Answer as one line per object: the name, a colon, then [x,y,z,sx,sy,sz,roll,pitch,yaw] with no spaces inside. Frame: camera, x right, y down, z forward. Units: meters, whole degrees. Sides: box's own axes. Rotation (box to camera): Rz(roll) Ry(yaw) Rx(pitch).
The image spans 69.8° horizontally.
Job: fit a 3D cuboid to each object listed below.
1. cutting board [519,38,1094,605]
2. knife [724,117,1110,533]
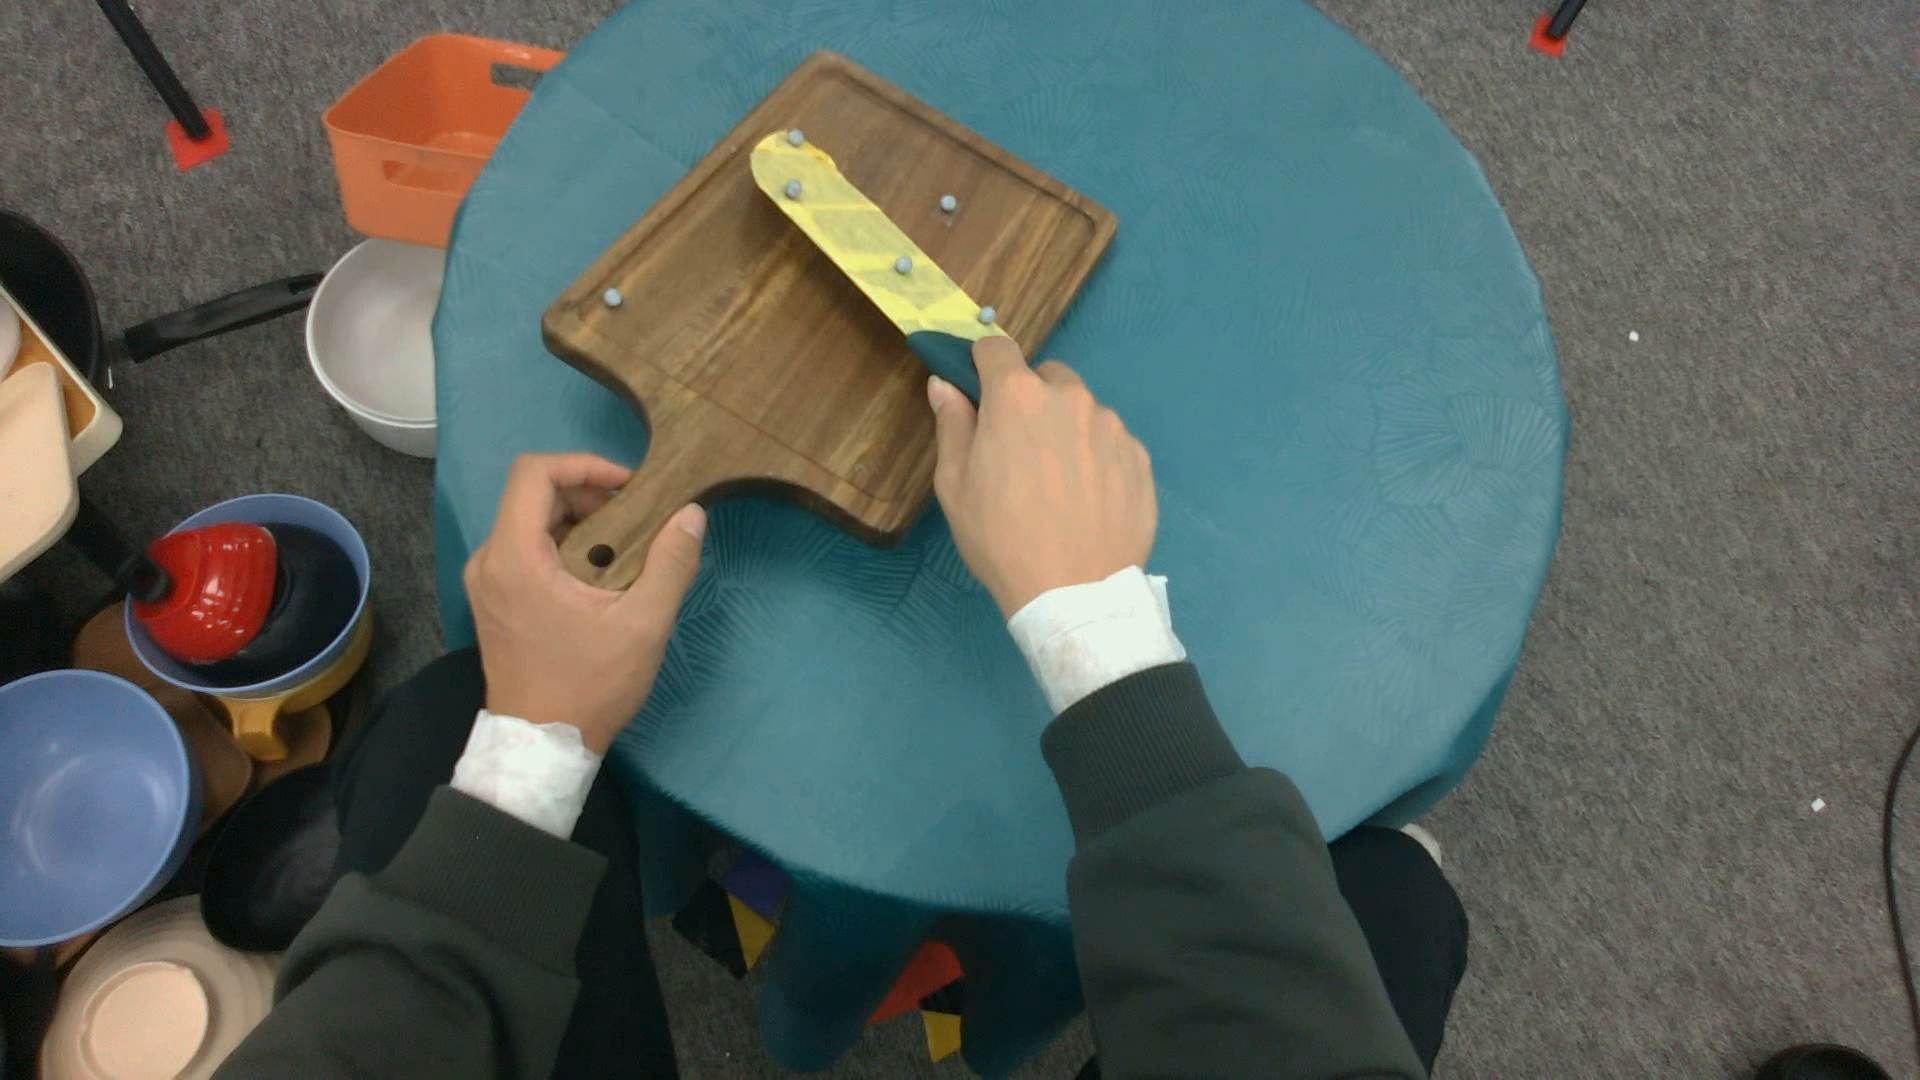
cutting board: [-0.088,-0.106,0.668,0.201,0.023,0.354,30,57,4]
knife: [-0.022,-0.113,0.660,0.290,0.027,0.081,50,36,19]
